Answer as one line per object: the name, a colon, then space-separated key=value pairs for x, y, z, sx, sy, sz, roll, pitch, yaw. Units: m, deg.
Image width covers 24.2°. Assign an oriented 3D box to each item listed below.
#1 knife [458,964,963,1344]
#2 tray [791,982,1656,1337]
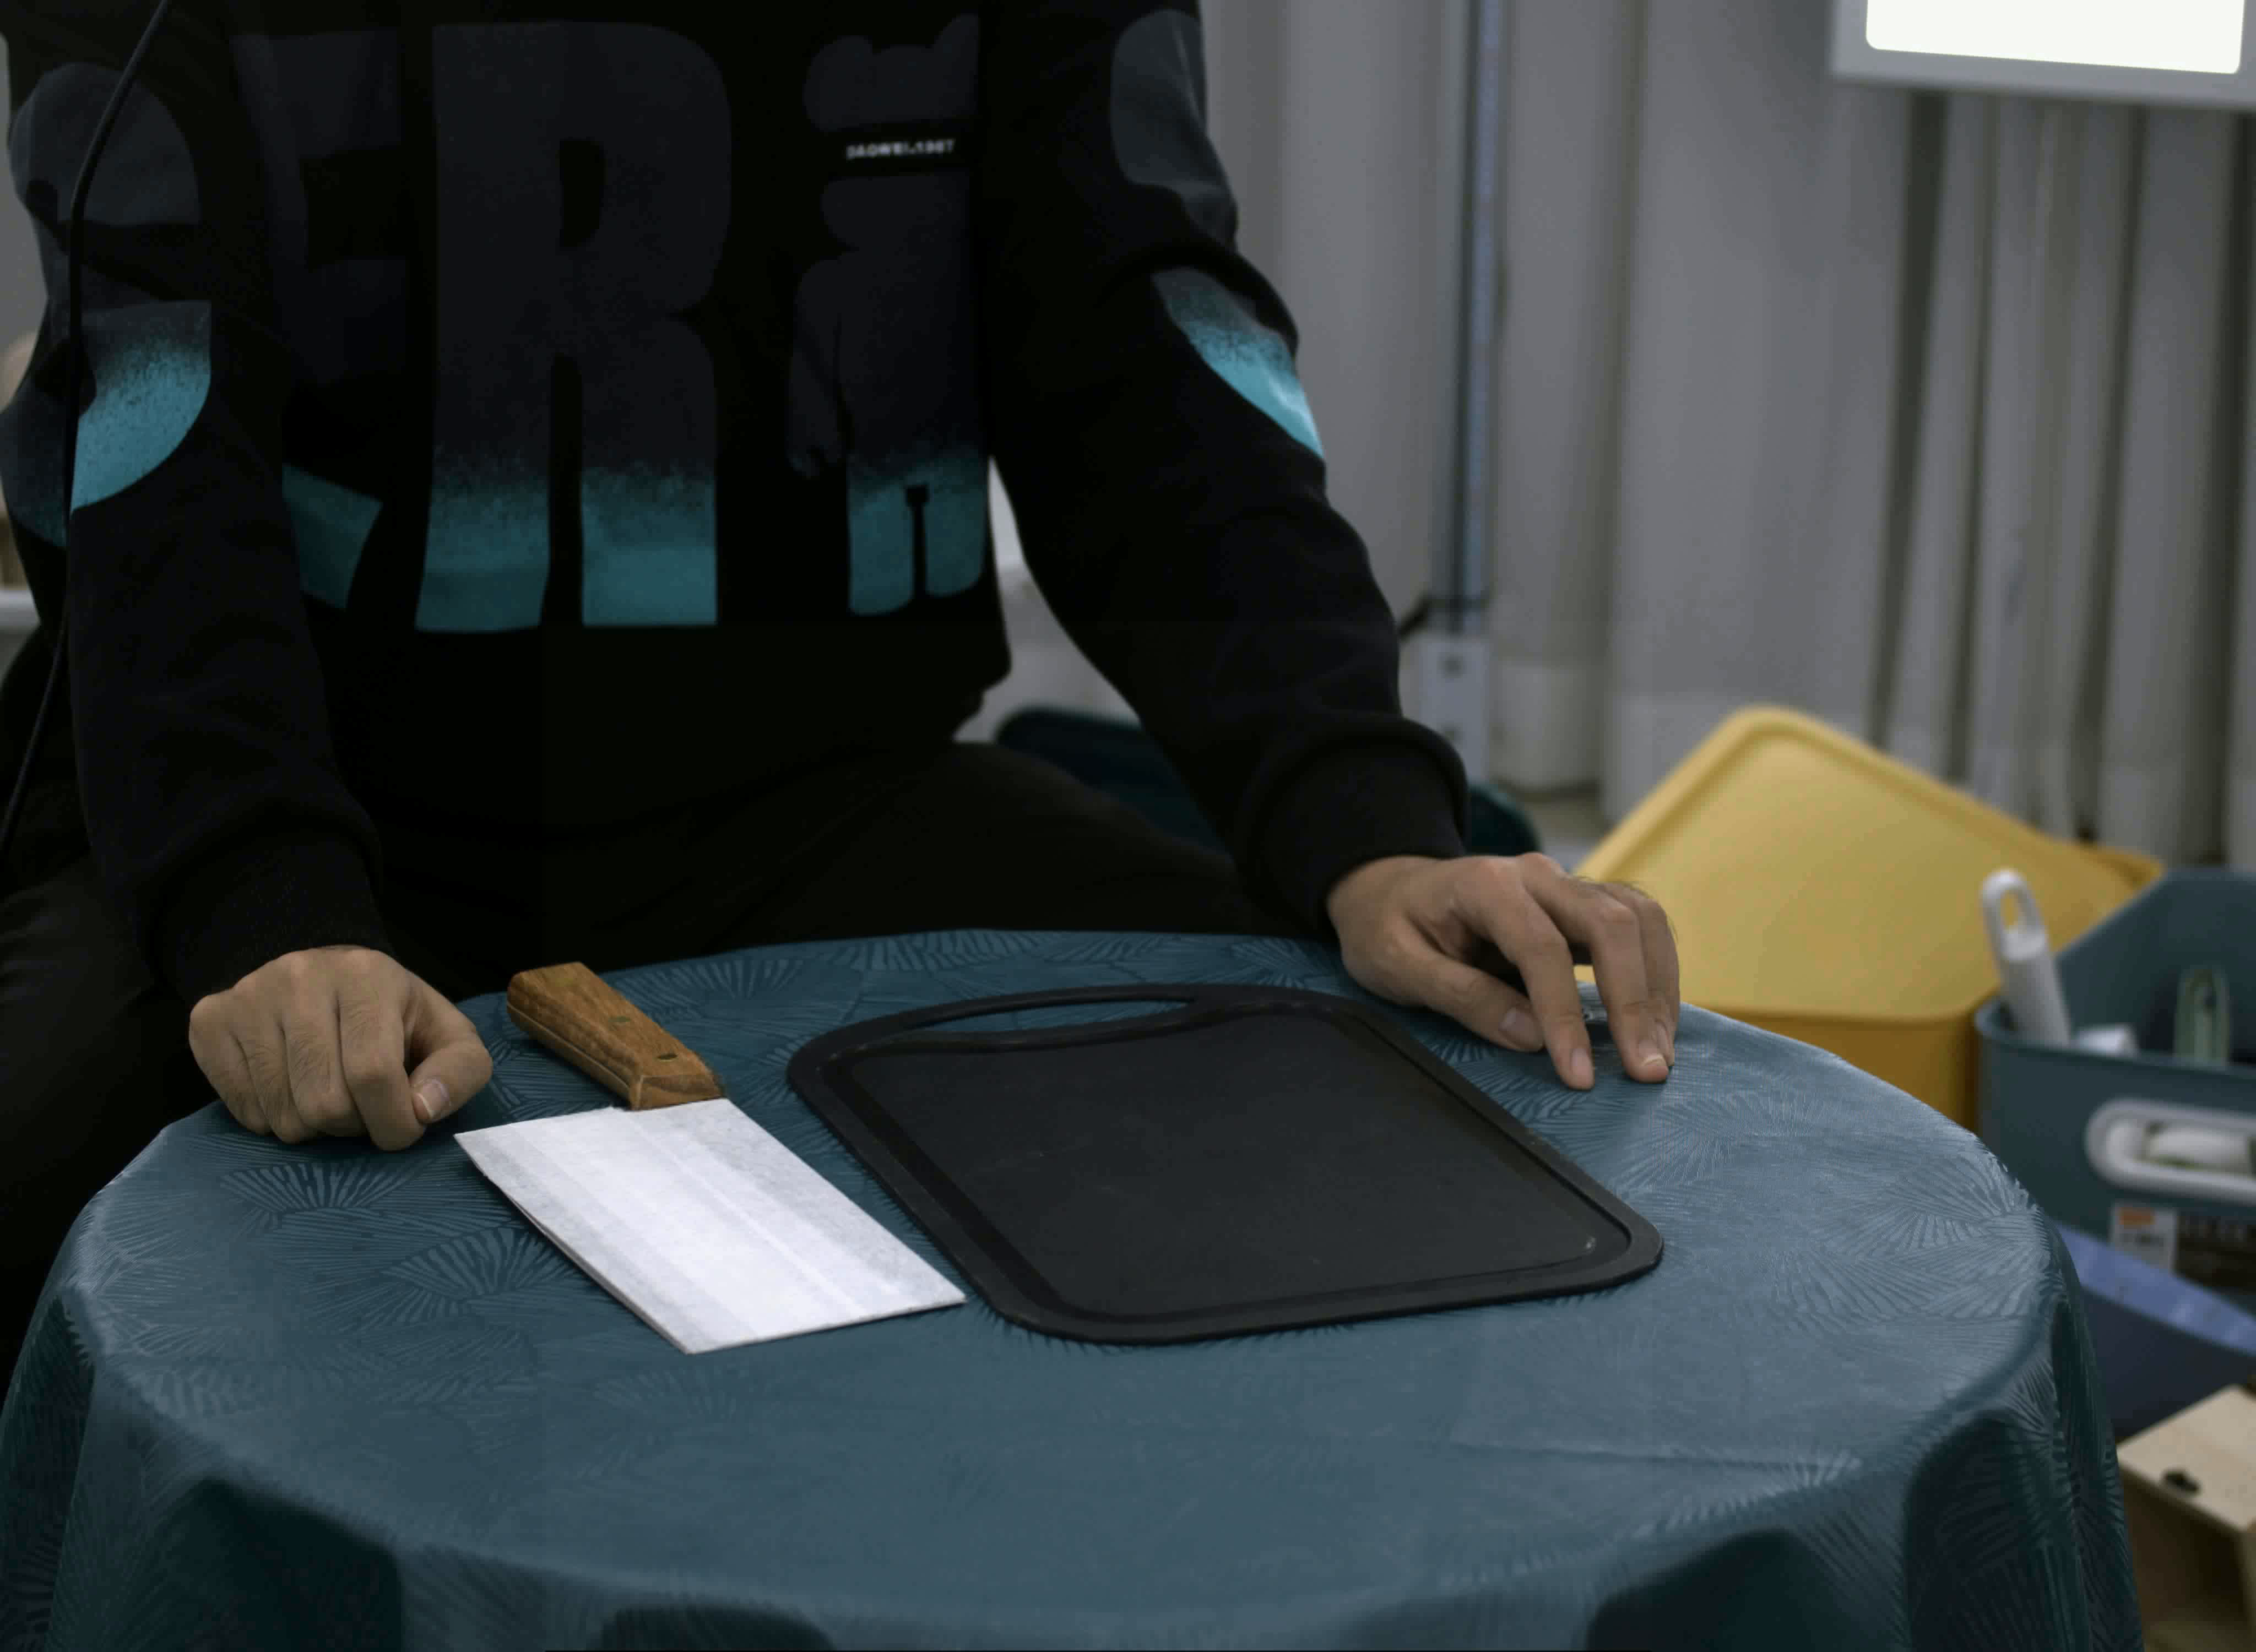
knife: x=-0.153 y=0.101 z=1.632 sx=0.093 sy=0.021 sz=0.302 roll=-9 pitch=20 yaw=-26
tray: x=0.020 y=0.097 z=1.663 sx=0.211 sy=0.010 sz=0.322 roll=-5 pitch=17 yaw=-18
